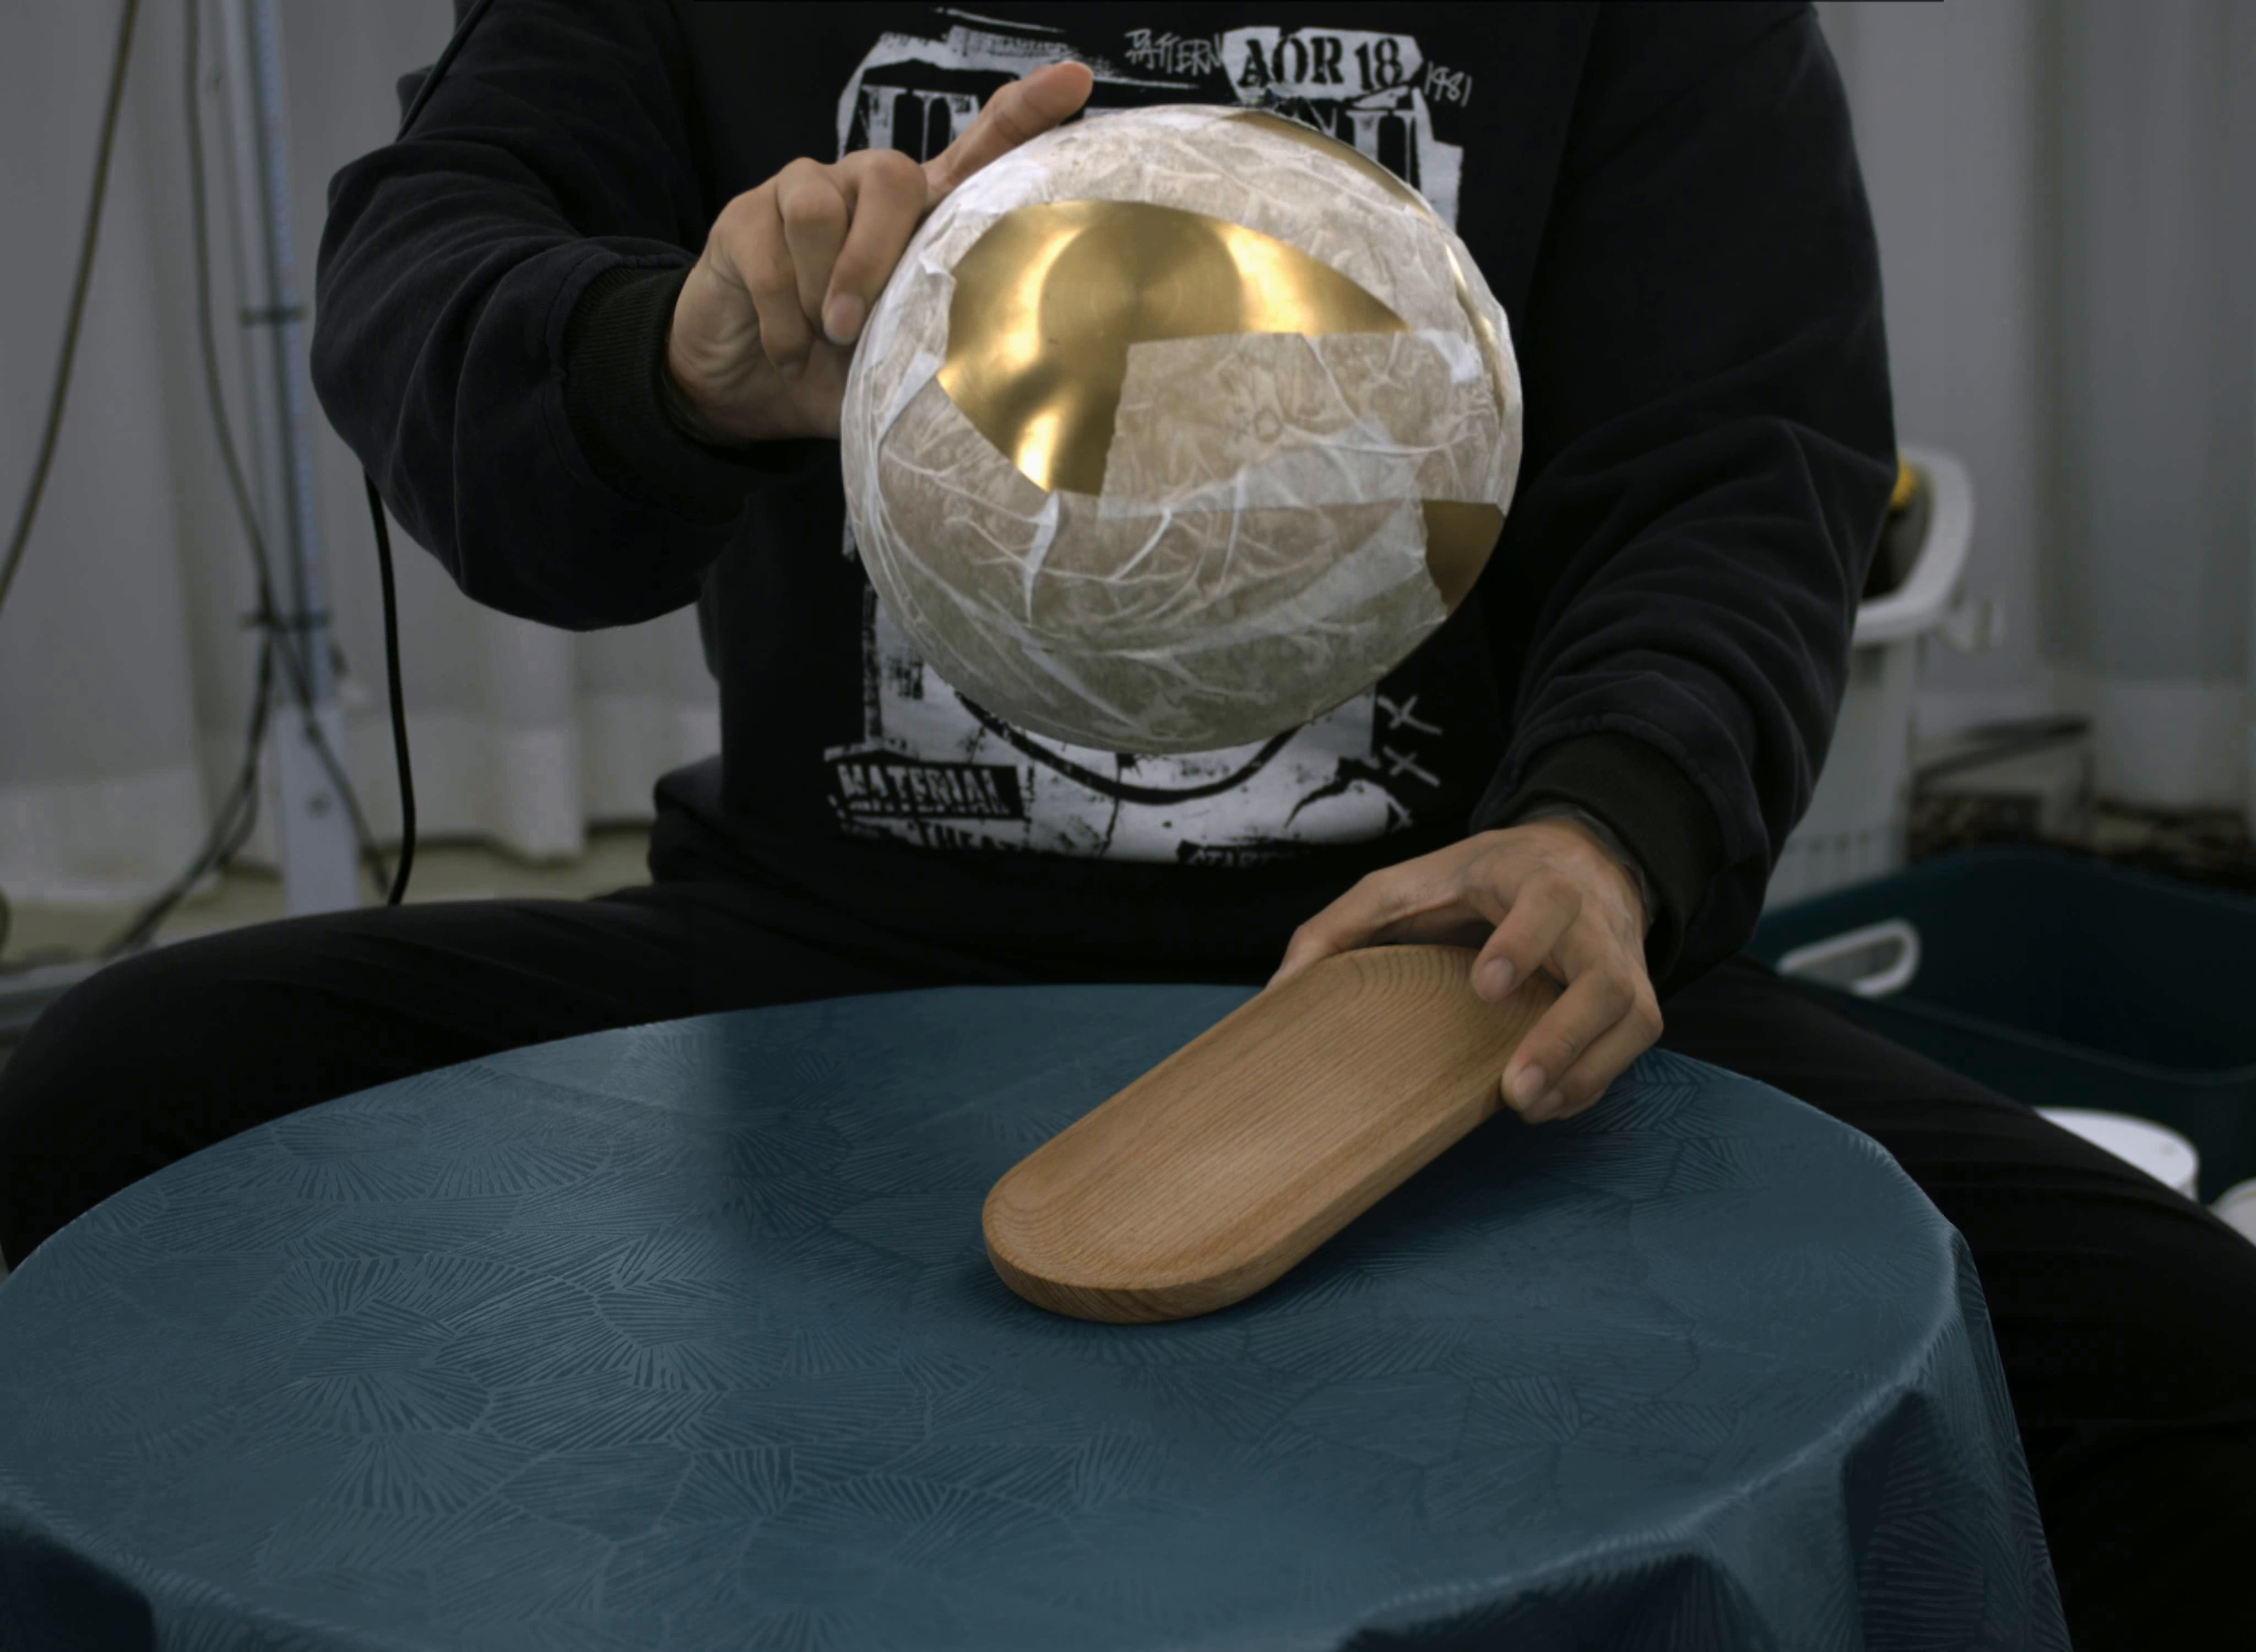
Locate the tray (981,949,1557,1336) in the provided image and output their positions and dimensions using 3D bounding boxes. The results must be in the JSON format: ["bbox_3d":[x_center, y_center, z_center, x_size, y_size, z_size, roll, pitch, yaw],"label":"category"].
[{"bbox_3d":[0.046,0.095,1.678,0.102,0.020,0.232,11,32,36],"label":"tray"}]

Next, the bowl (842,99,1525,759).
[{"bbox_3d":[0.009,-0.126,1.575,0.214,0.217,0.093,0,-24,9],"label":"bowl"}]
